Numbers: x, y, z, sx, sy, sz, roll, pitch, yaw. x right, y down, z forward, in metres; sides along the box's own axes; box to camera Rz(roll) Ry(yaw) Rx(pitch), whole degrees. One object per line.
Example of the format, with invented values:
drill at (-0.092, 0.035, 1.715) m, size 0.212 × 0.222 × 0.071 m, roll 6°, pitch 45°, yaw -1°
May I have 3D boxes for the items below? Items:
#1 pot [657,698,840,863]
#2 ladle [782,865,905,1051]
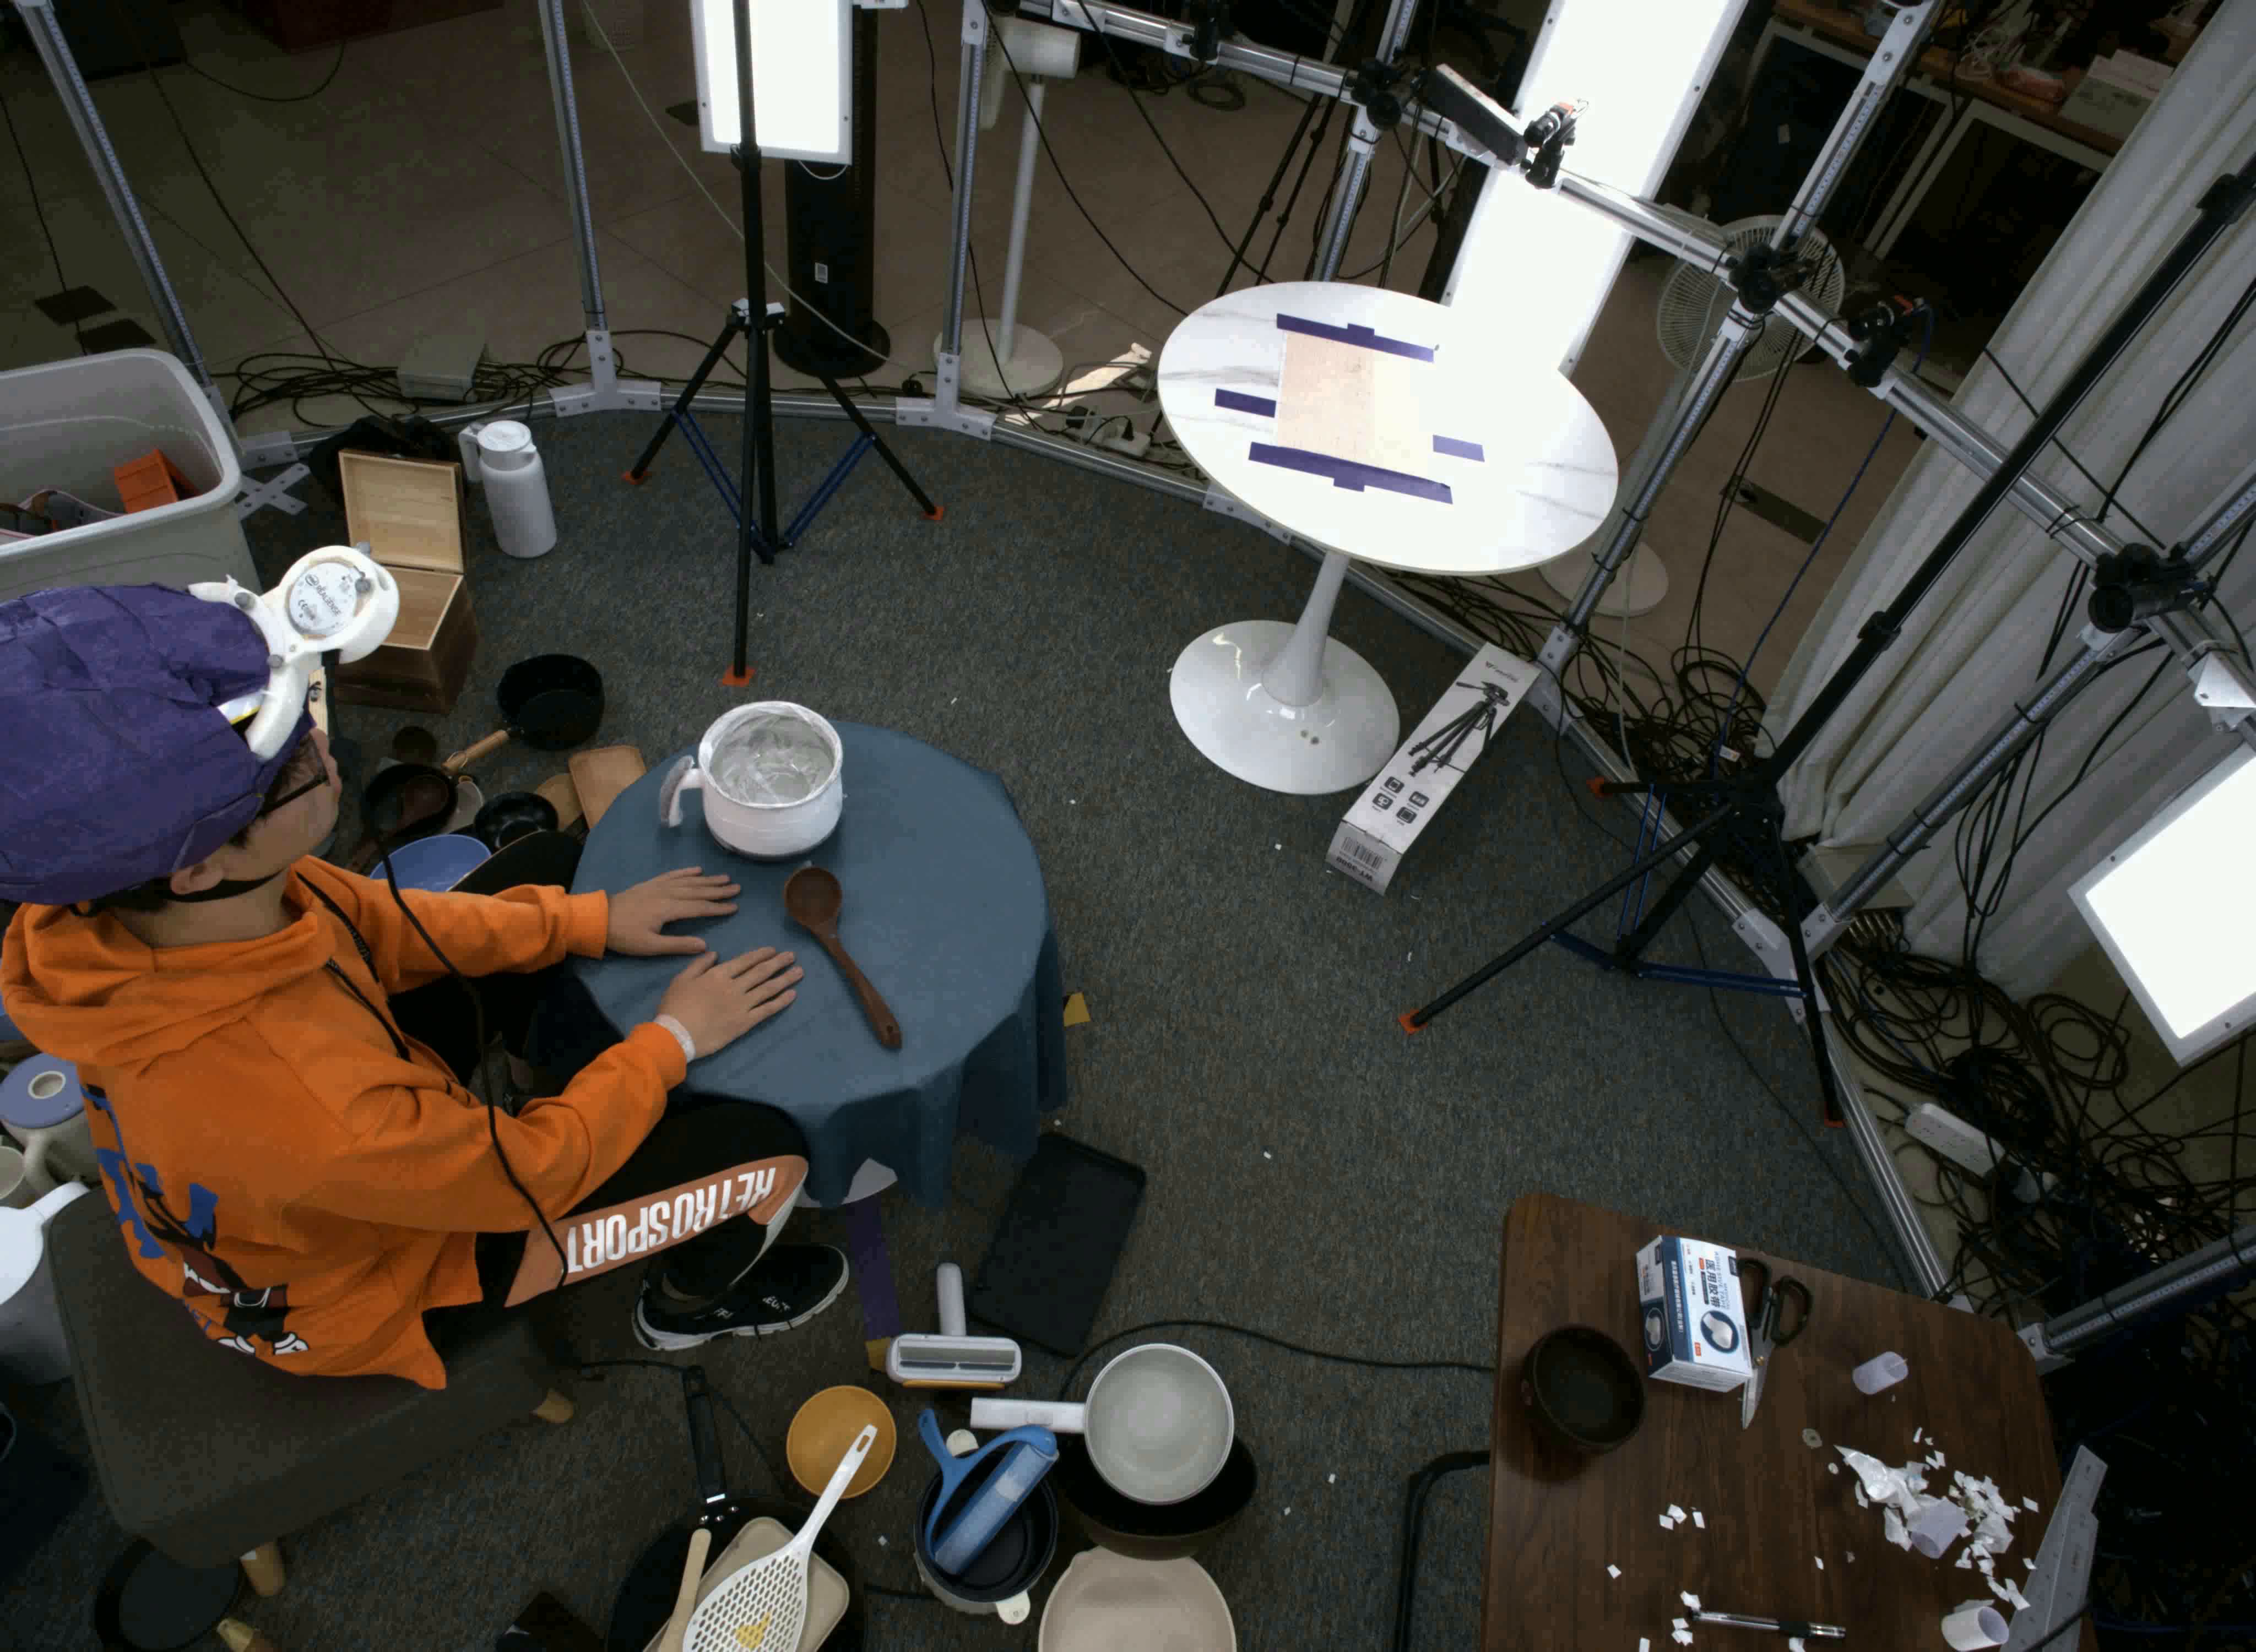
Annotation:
pot at (-0.484, -0.051, 1.647) m, size 0.235 × 0.139 × 0.174 m, roll -8°, pitch 55°, yaw -20°
ladle at (-0.340, 0.156, 1.578) m, size 0.077 × 0.066 × 0.254 m, roll -26°, pitch 63°, yaw -26°
